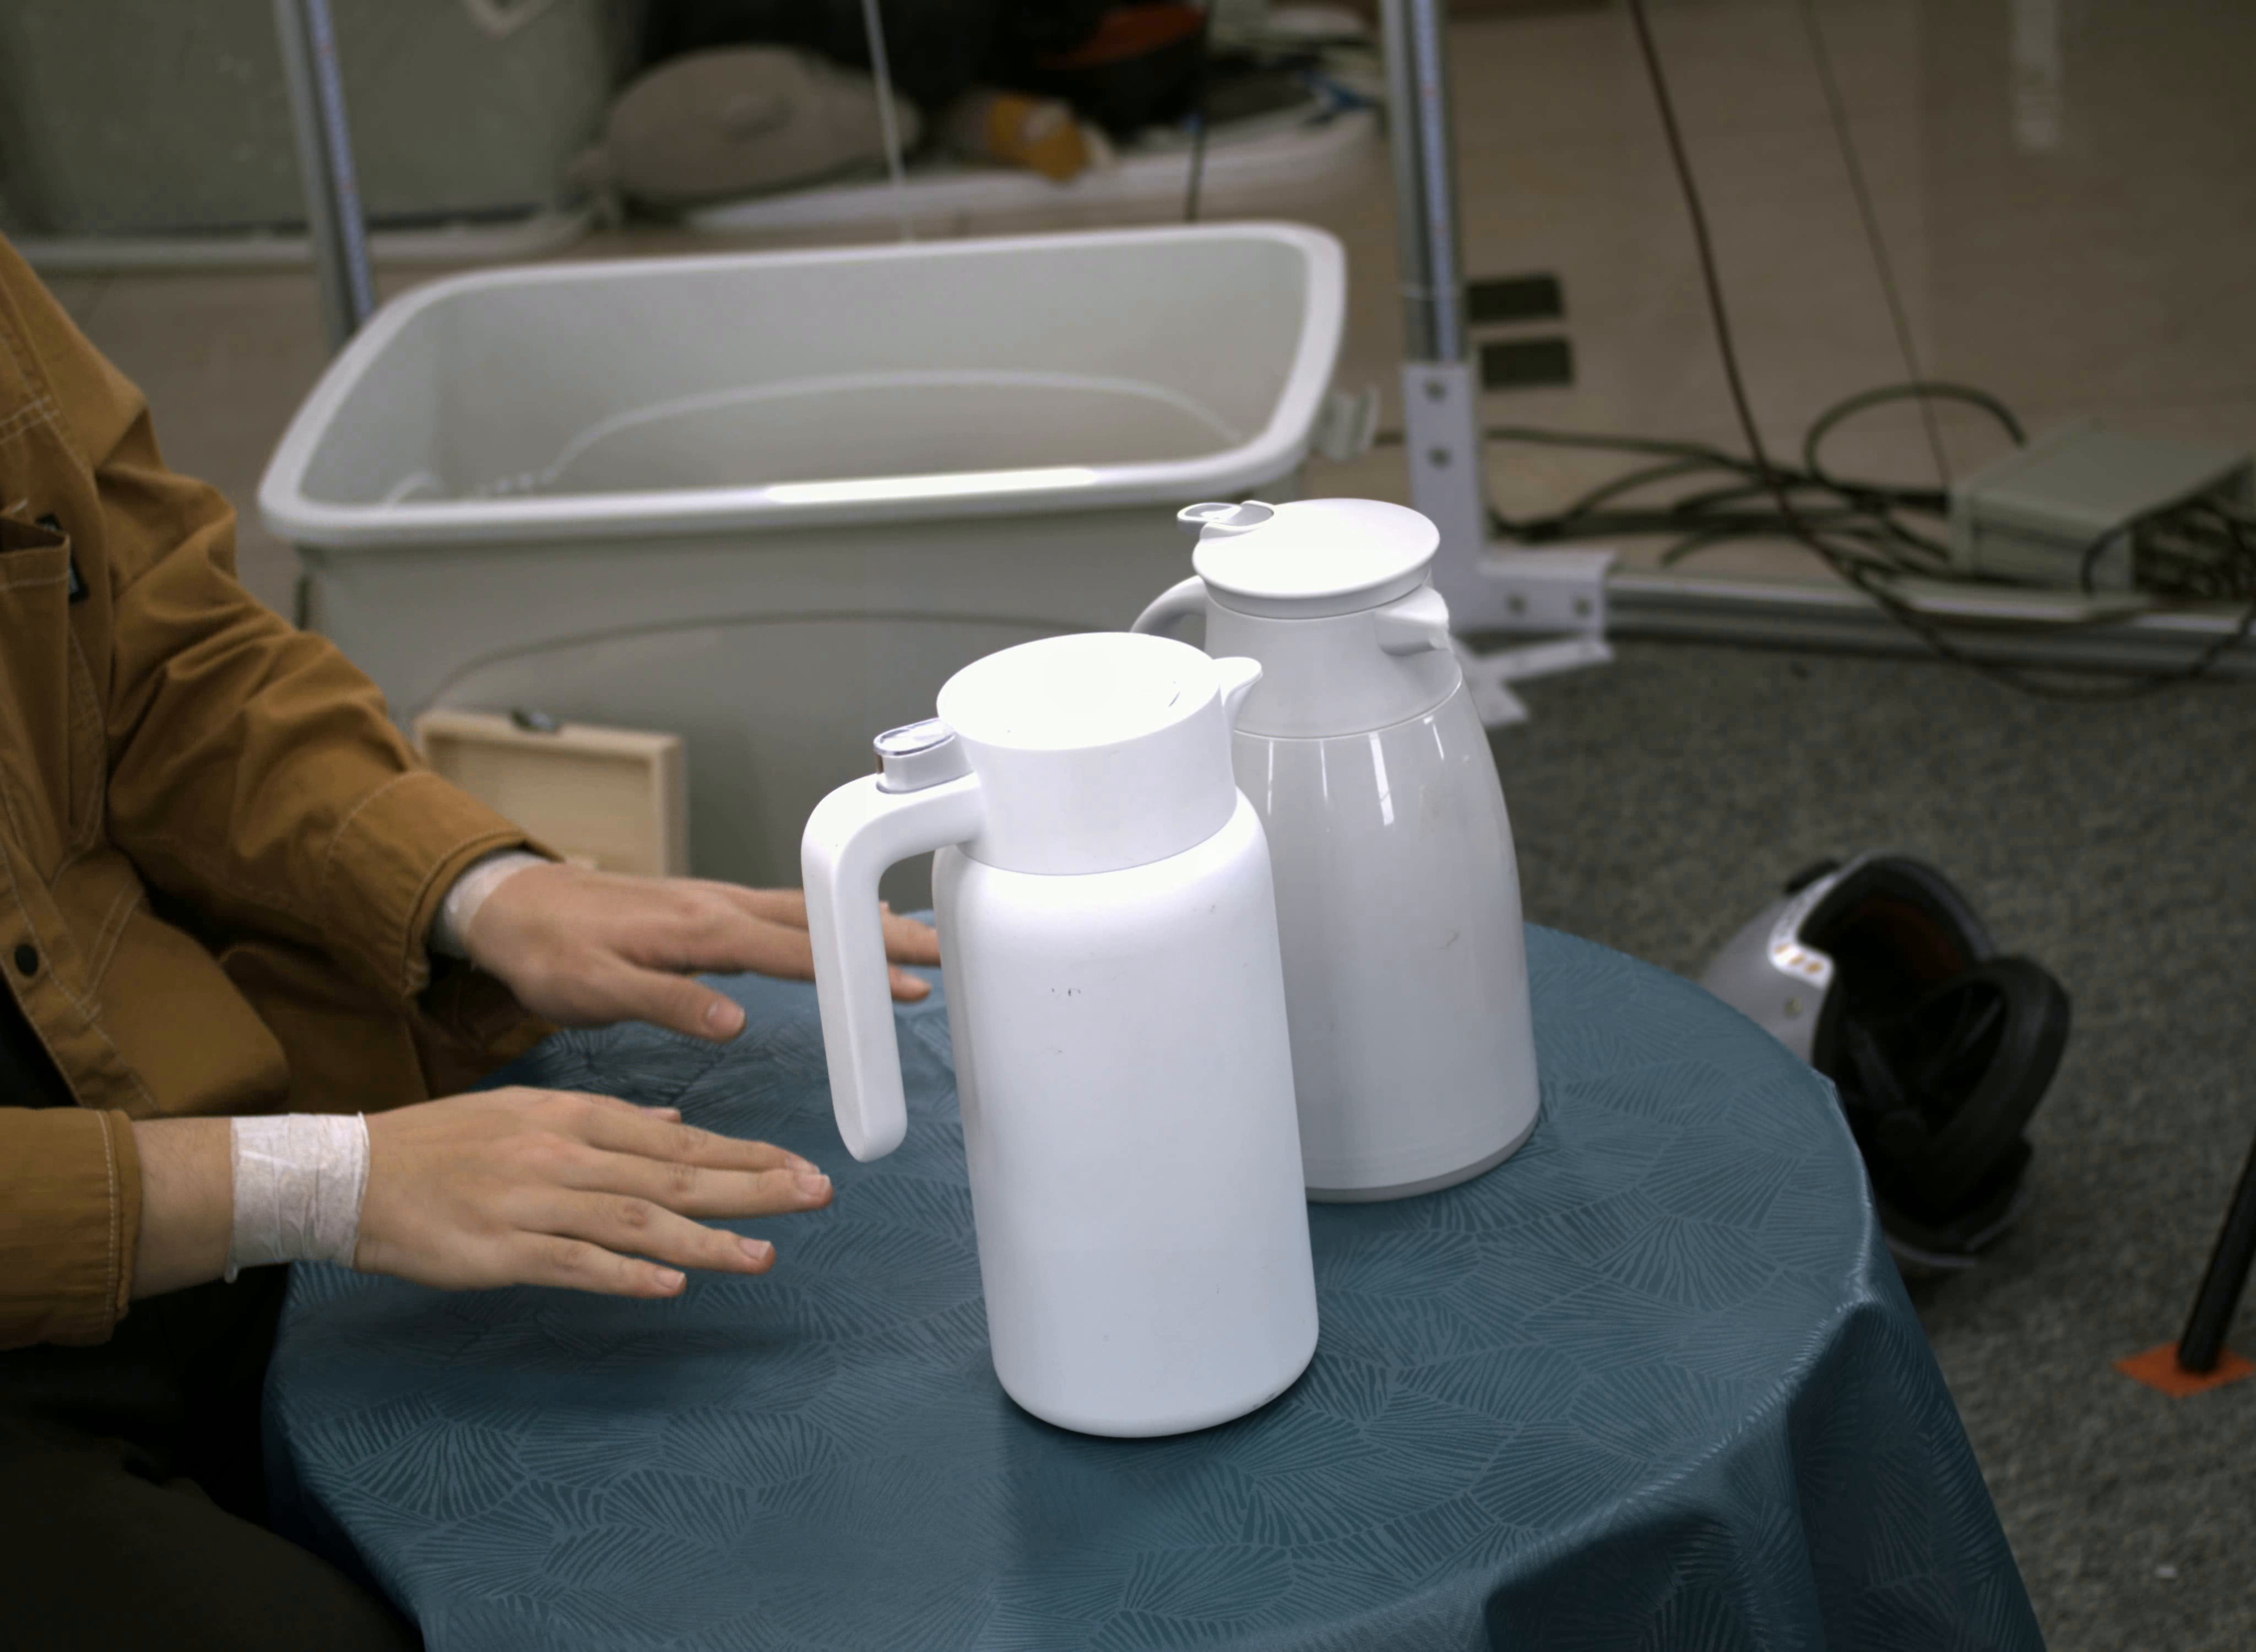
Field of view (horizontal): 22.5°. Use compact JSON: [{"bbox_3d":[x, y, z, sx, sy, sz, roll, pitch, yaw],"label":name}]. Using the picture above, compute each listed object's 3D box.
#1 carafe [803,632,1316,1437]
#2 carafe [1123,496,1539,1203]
[{"bbox_3d":[-0.018,0.077,1.965,0.172,0.273,0.122,-17,30,-21],"label":"carafe"},{"bbox_3d":[0.065,-0.001,2.137,0.166,0.252,0.131,16,33,40],"label":"carafe"}]
